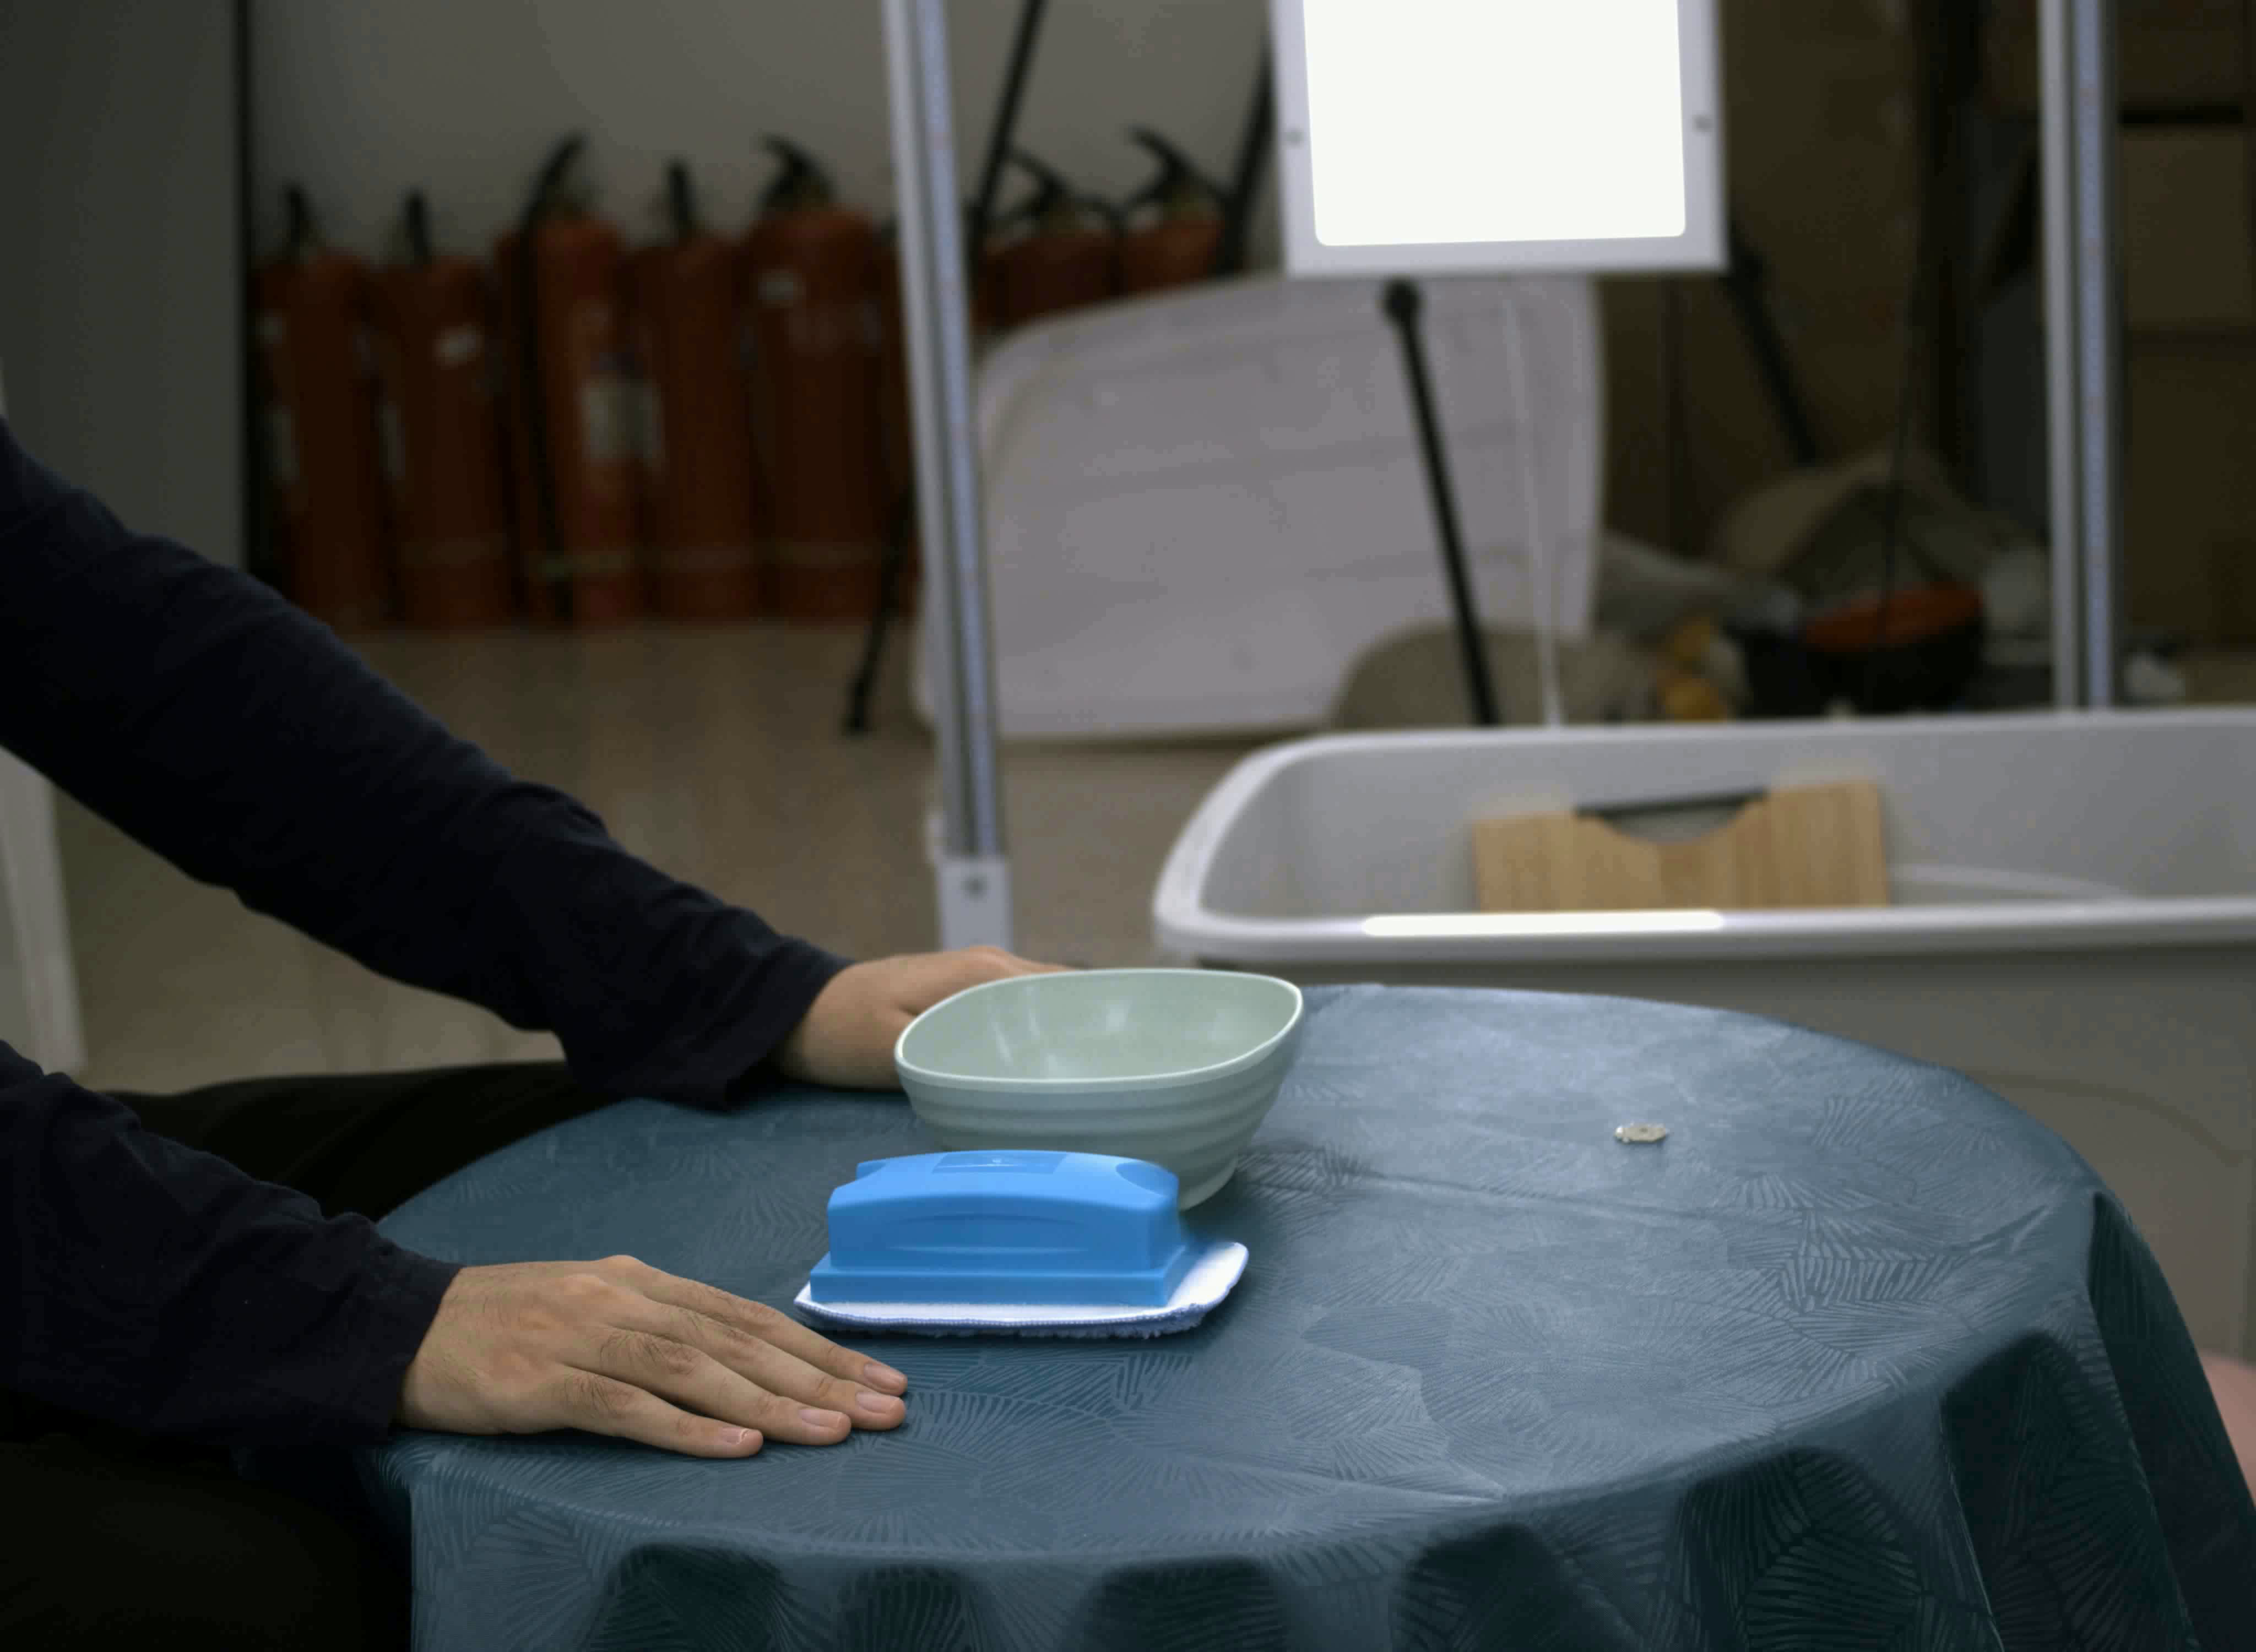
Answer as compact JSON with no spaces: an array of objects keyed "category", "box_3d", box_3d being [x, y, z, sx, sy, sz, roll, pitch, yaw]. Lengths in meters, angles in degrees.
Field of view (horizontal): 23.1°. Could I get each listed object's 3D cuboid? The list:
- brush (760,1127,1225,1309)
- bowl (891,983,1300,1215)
[{"category":"brush","box_3d":[-0.044,0.127,1.784,0.146,0.056,0.082,1,11,19]},{"category":"bowl","box_3d":[-0.009,0.098,1.907,0.151,0.059,0.151,-5,11,0]}]
